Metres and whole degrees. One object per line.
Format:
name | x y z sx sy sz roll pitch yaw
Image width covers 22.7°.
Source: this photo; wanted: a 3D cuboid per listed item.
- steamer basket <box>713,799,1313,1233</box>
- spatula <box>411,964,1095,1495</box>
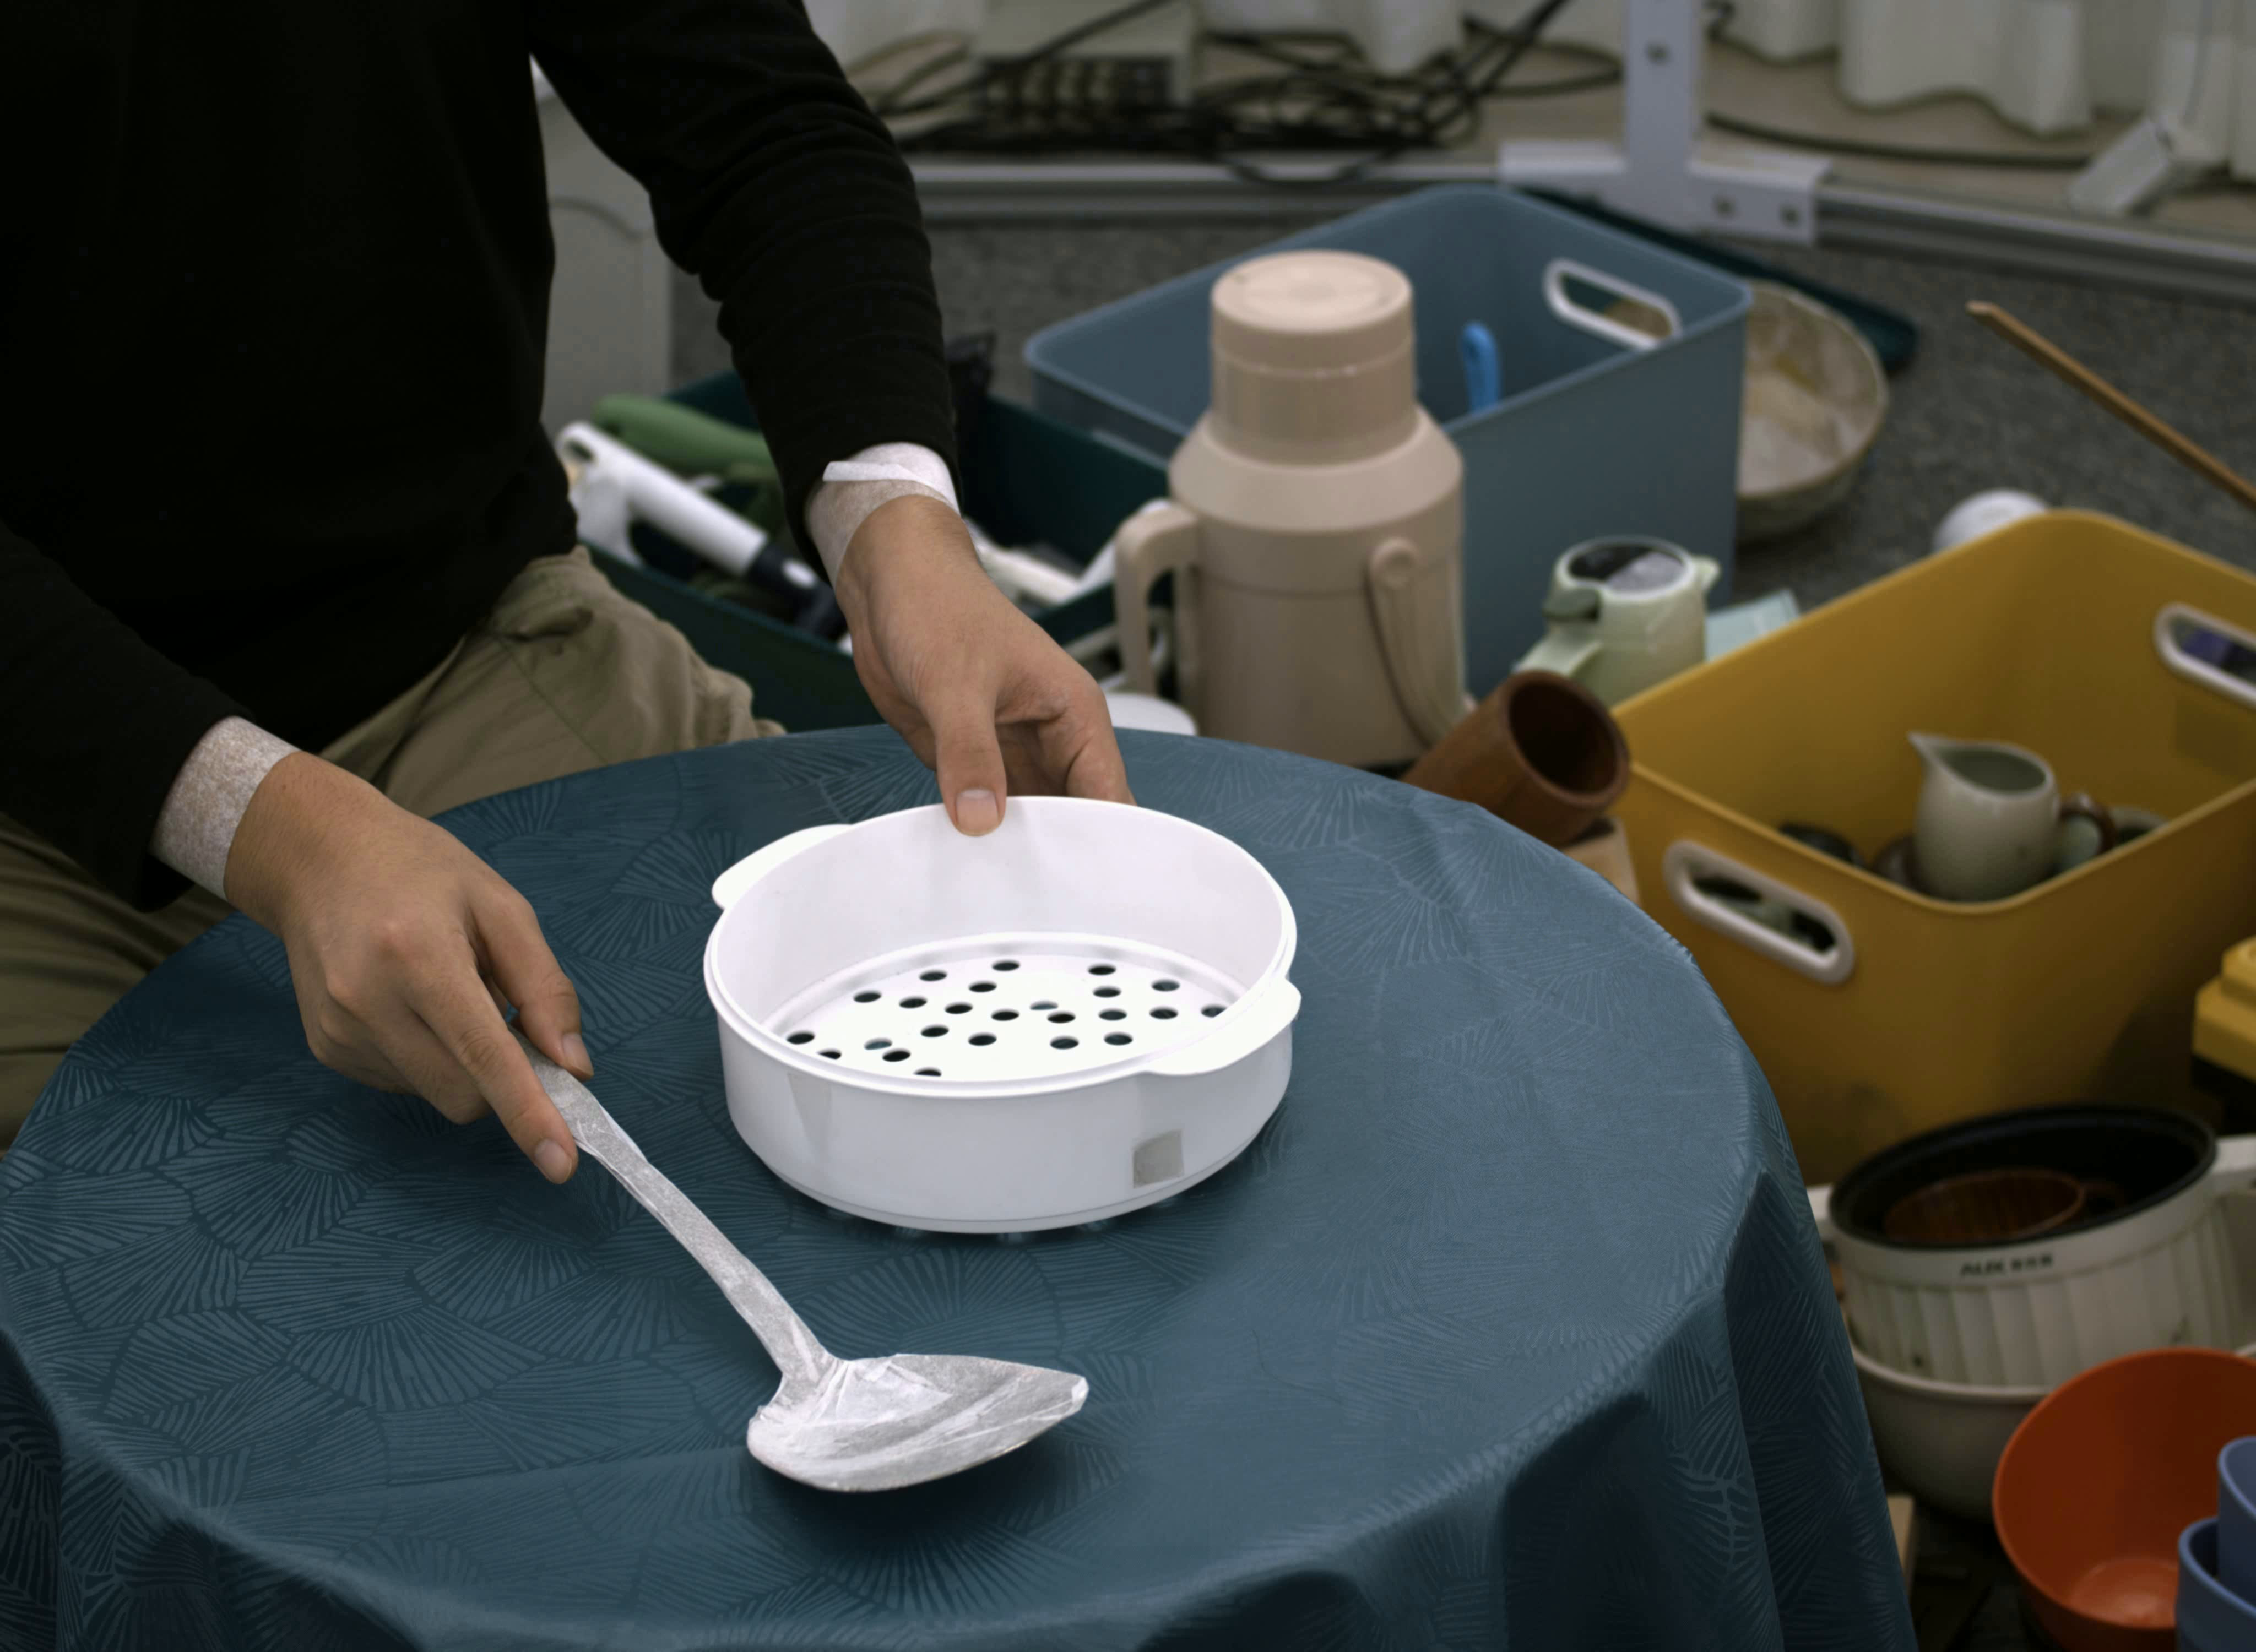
steamer basket | -0.038 0.064 1.898 0.230 0.068 0.204 19 34 37
spatula | -0.144 0.120 1.810 0.099 0.044 0.367 -21 40 -29
